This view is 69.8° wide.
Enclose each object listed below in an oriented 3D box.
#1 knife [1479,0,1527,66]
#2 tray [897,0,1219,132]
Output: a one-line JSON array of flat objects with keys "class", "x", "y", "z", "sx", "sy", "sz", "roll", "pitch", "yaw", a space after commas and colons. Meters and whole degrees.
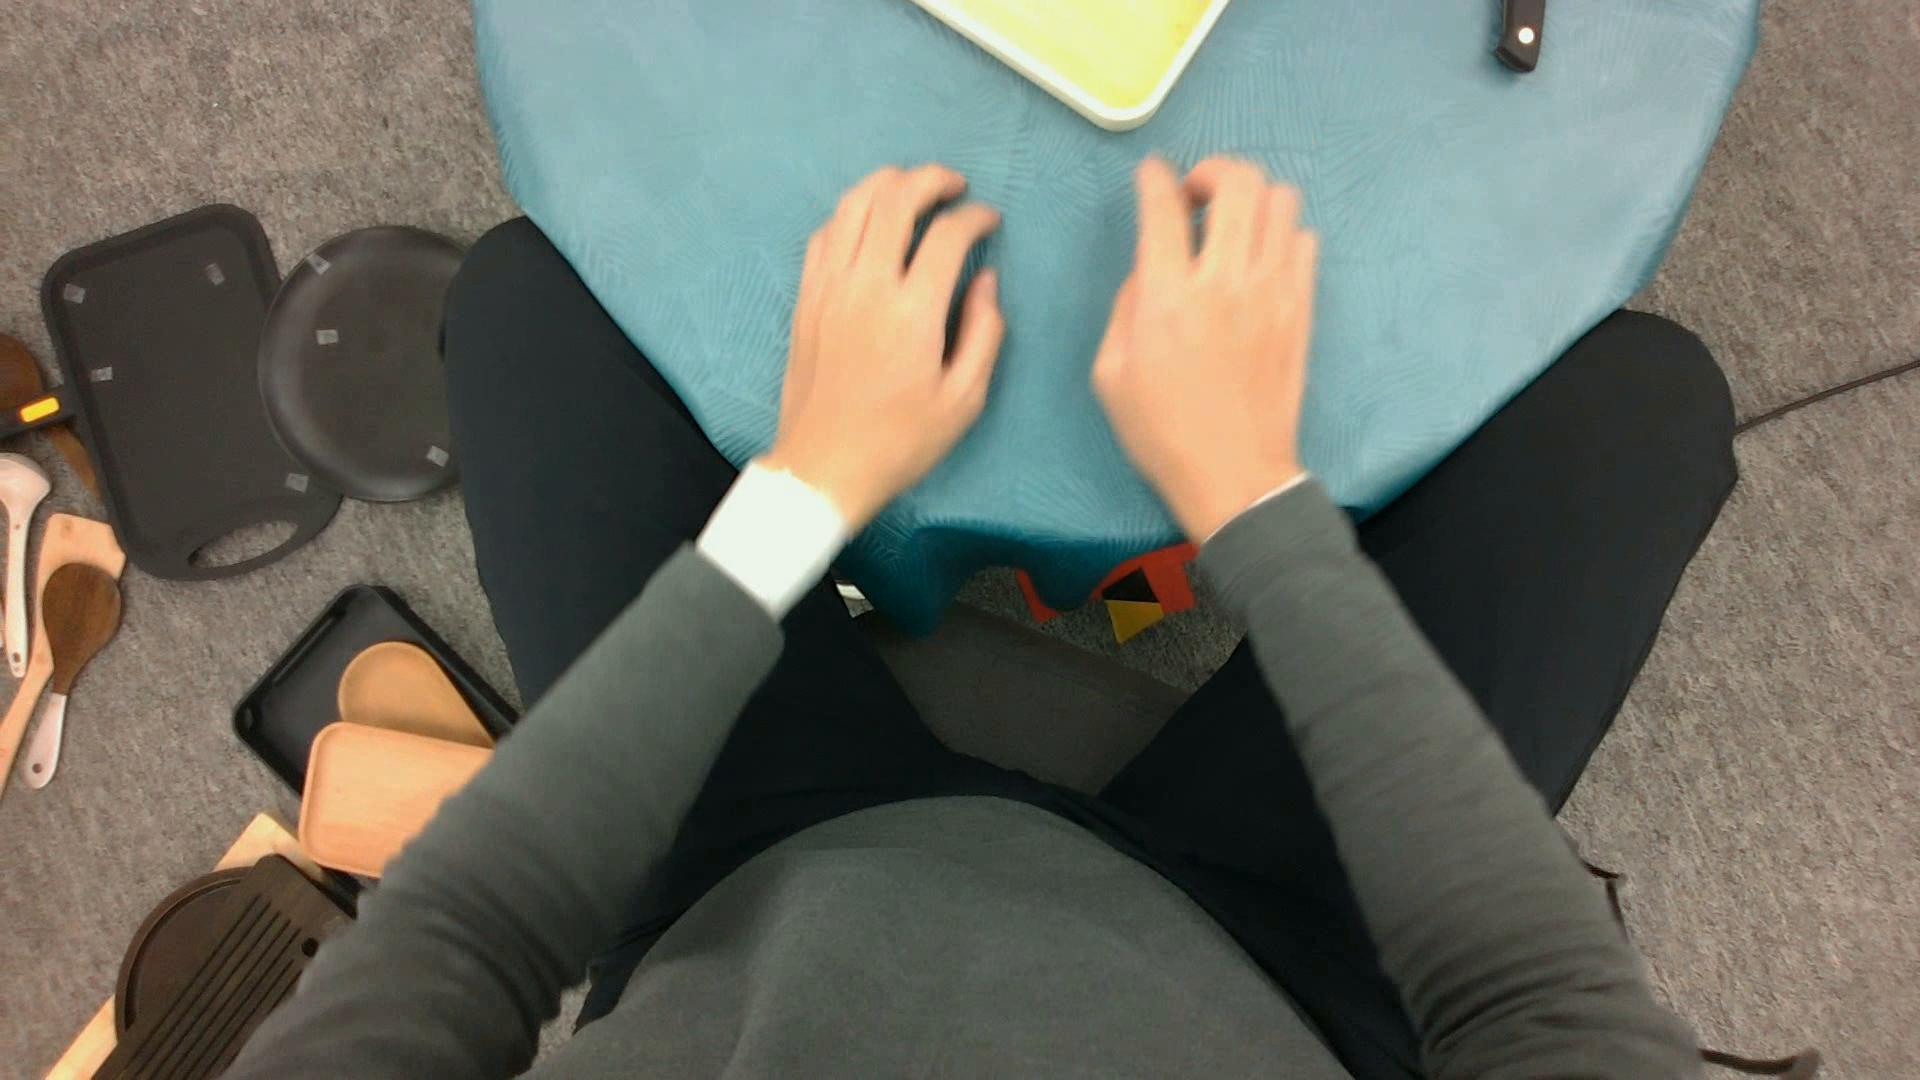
[{"class": "knife", "x": 0.256, "y": -0.330, "z": 0.618, "sx": 0.024, "sy": 0.016, "sz": 0.238, "roll": 7, "pitch": 88, "yaw": 3}, {"class": "tray", "x": 0.003, "y": -0.342, "z": 0.627, "sx": 0.300, "sy": 0.027, "sz": 0.191, "roll": 35, "pitch": 94, "yaw": 3}]
